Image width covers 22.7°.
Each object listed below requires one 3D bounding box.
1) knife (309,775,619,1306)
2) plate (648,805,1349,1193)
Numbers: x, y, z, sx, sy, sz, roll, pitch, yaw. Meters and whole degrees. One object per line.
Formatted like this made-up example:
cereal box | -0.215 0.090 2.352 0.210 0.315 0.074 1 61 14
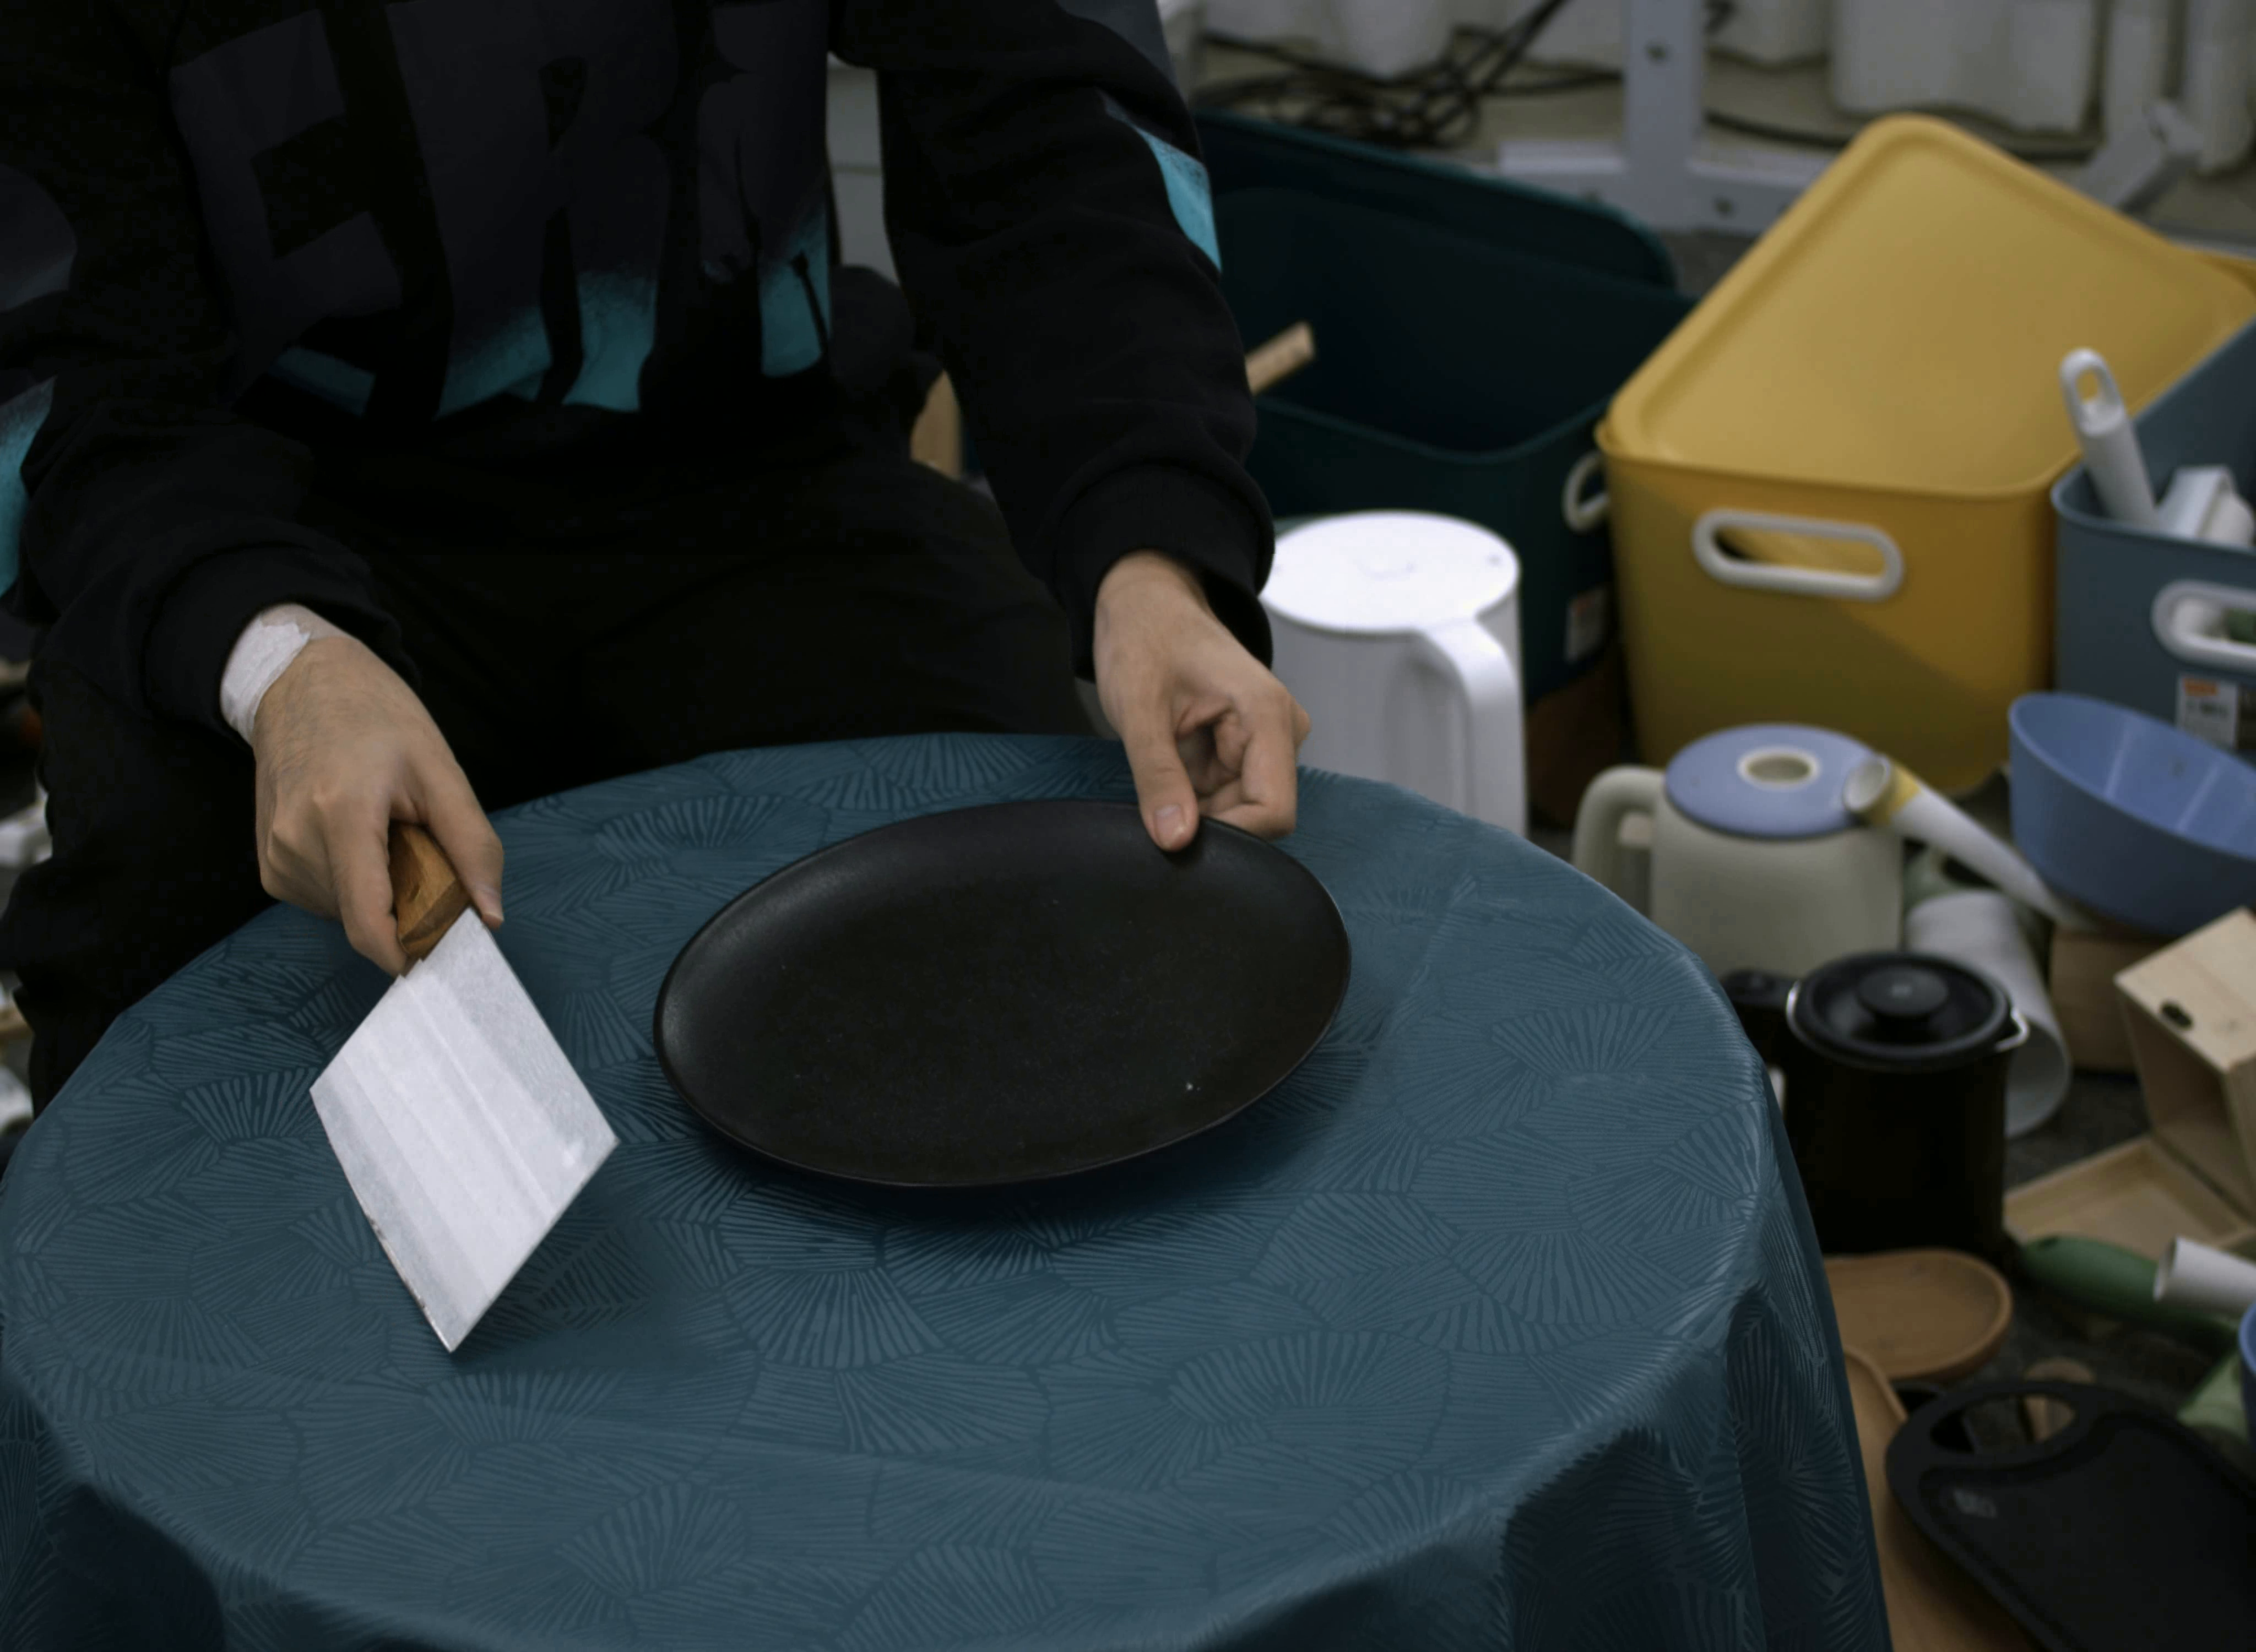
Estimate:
knife | -0.242 0.073 1.907 0.093 0.021 0.308 -51 32 5
plate | -0.044 0.064 1.939 0.243 0.023 0.248 -4 30 3
